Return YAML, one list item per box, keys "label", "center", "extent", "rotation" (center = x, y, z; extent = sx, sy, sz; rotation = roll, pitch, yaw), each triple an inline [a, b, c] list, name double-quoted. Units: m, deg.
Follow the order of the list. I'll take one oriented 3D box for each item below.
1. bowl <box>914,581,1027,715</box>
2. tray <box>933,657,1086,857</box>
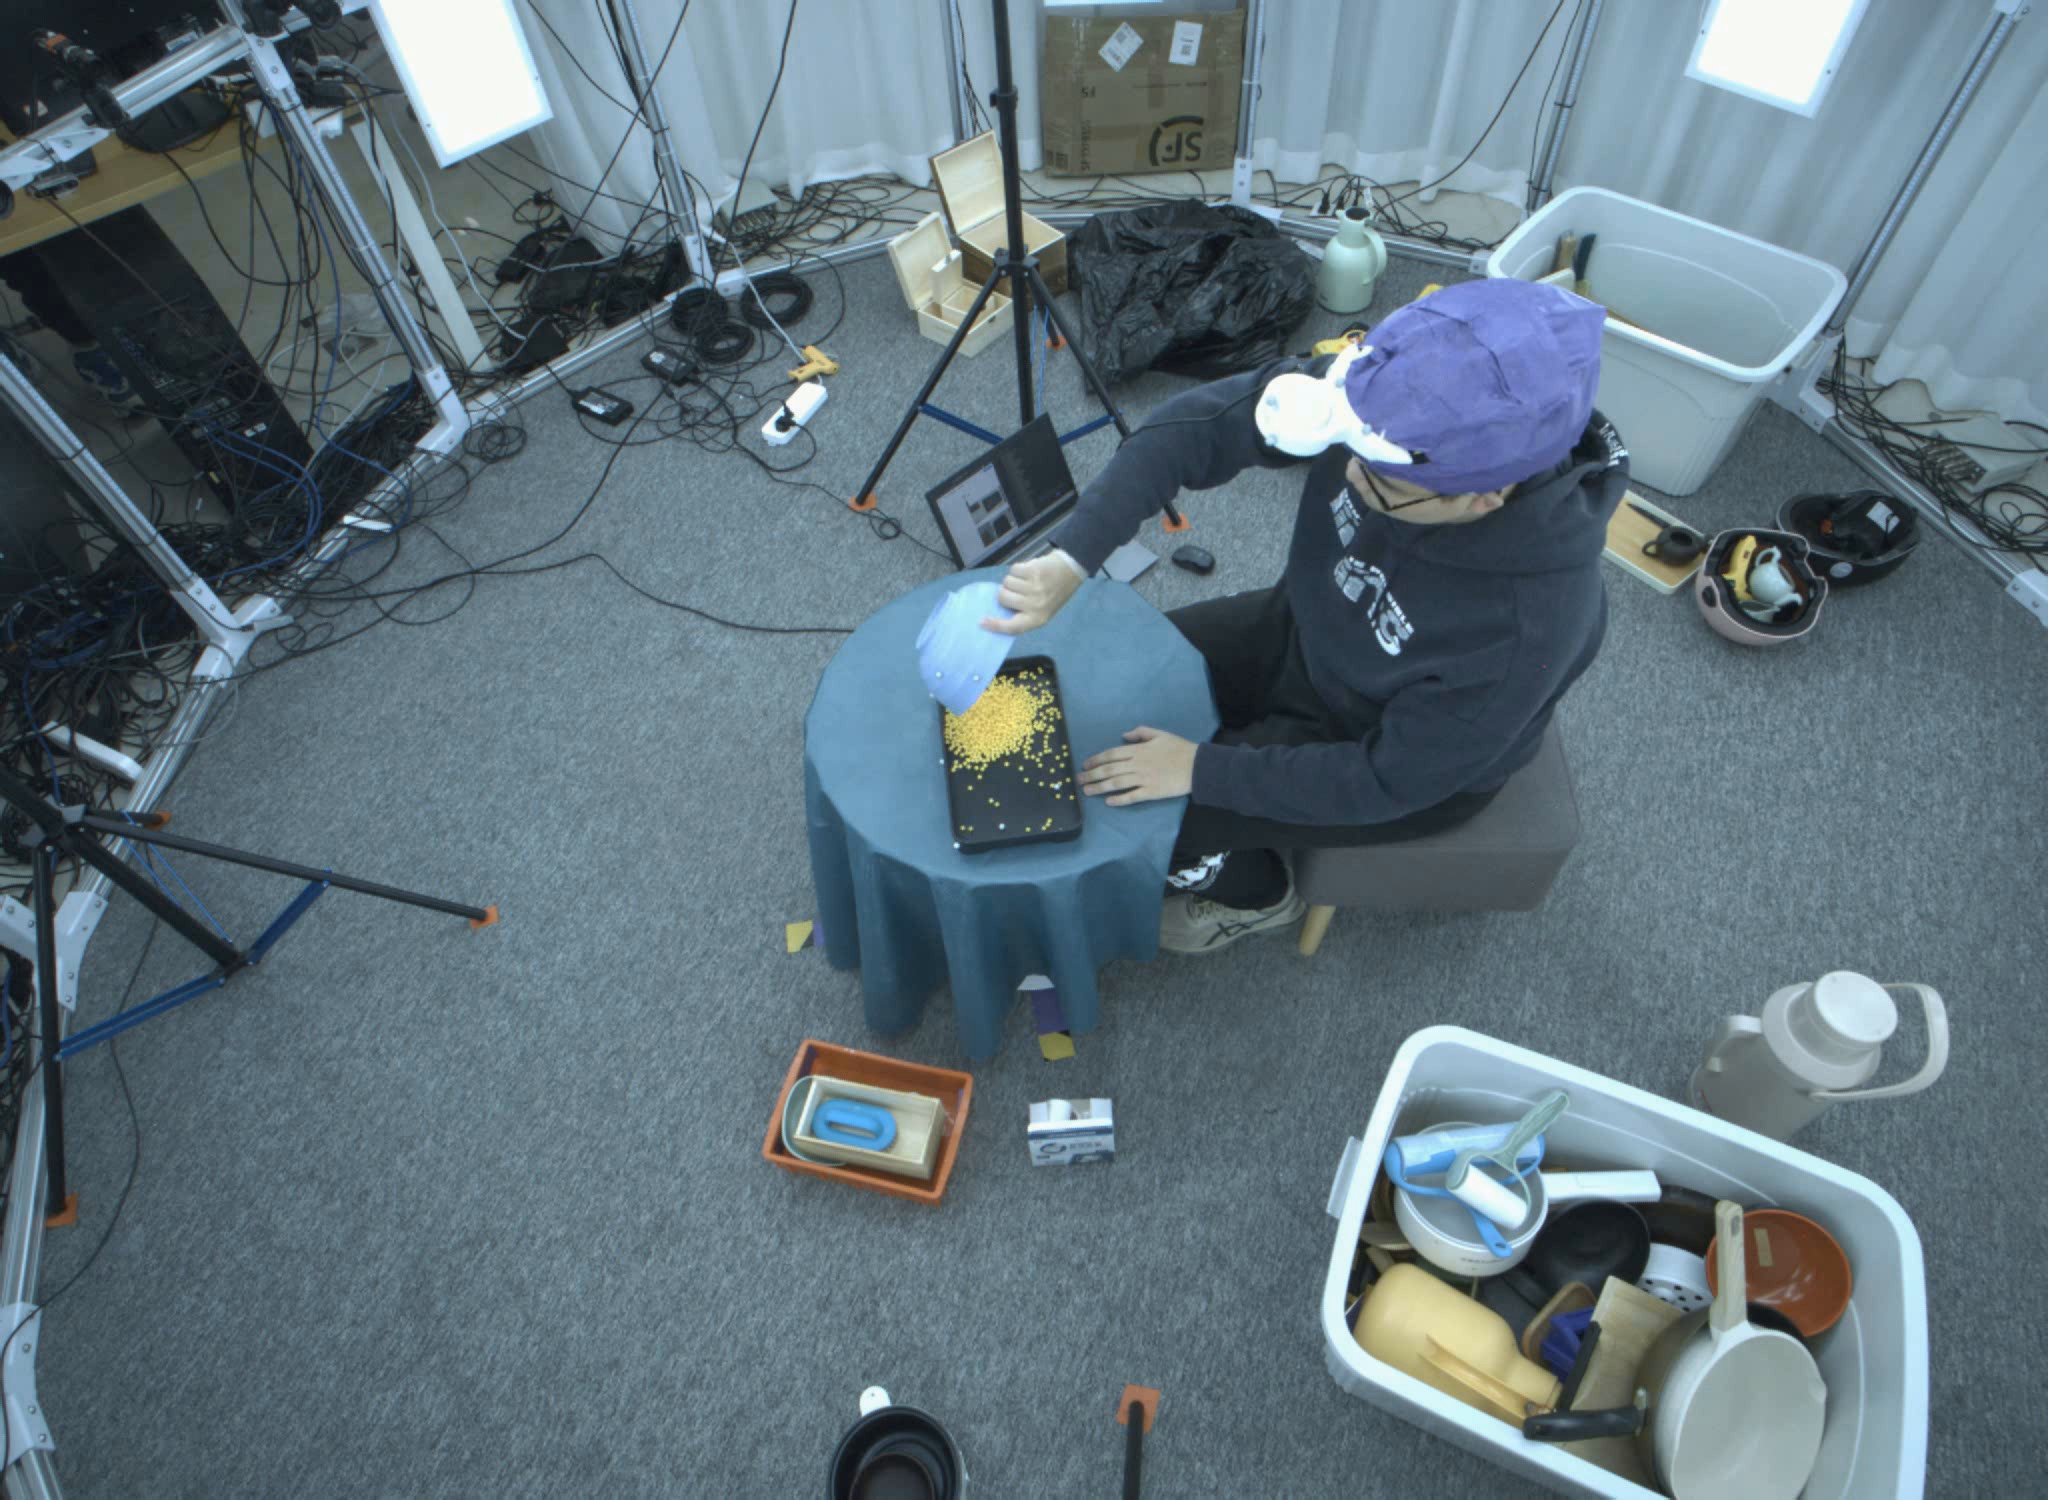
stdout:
- label: "bowl"
  center: [-0.086, -0.155, 1.675]
  extent: [0.096, 0.194, 0.196]
  rotation: [30, 56, -14]
- label: "tray"
  center: [-0.025, 0.005, 1.765]
  extent: [0.185, 0.037, 0.313]
  rotation: [-8, 54, -5]
